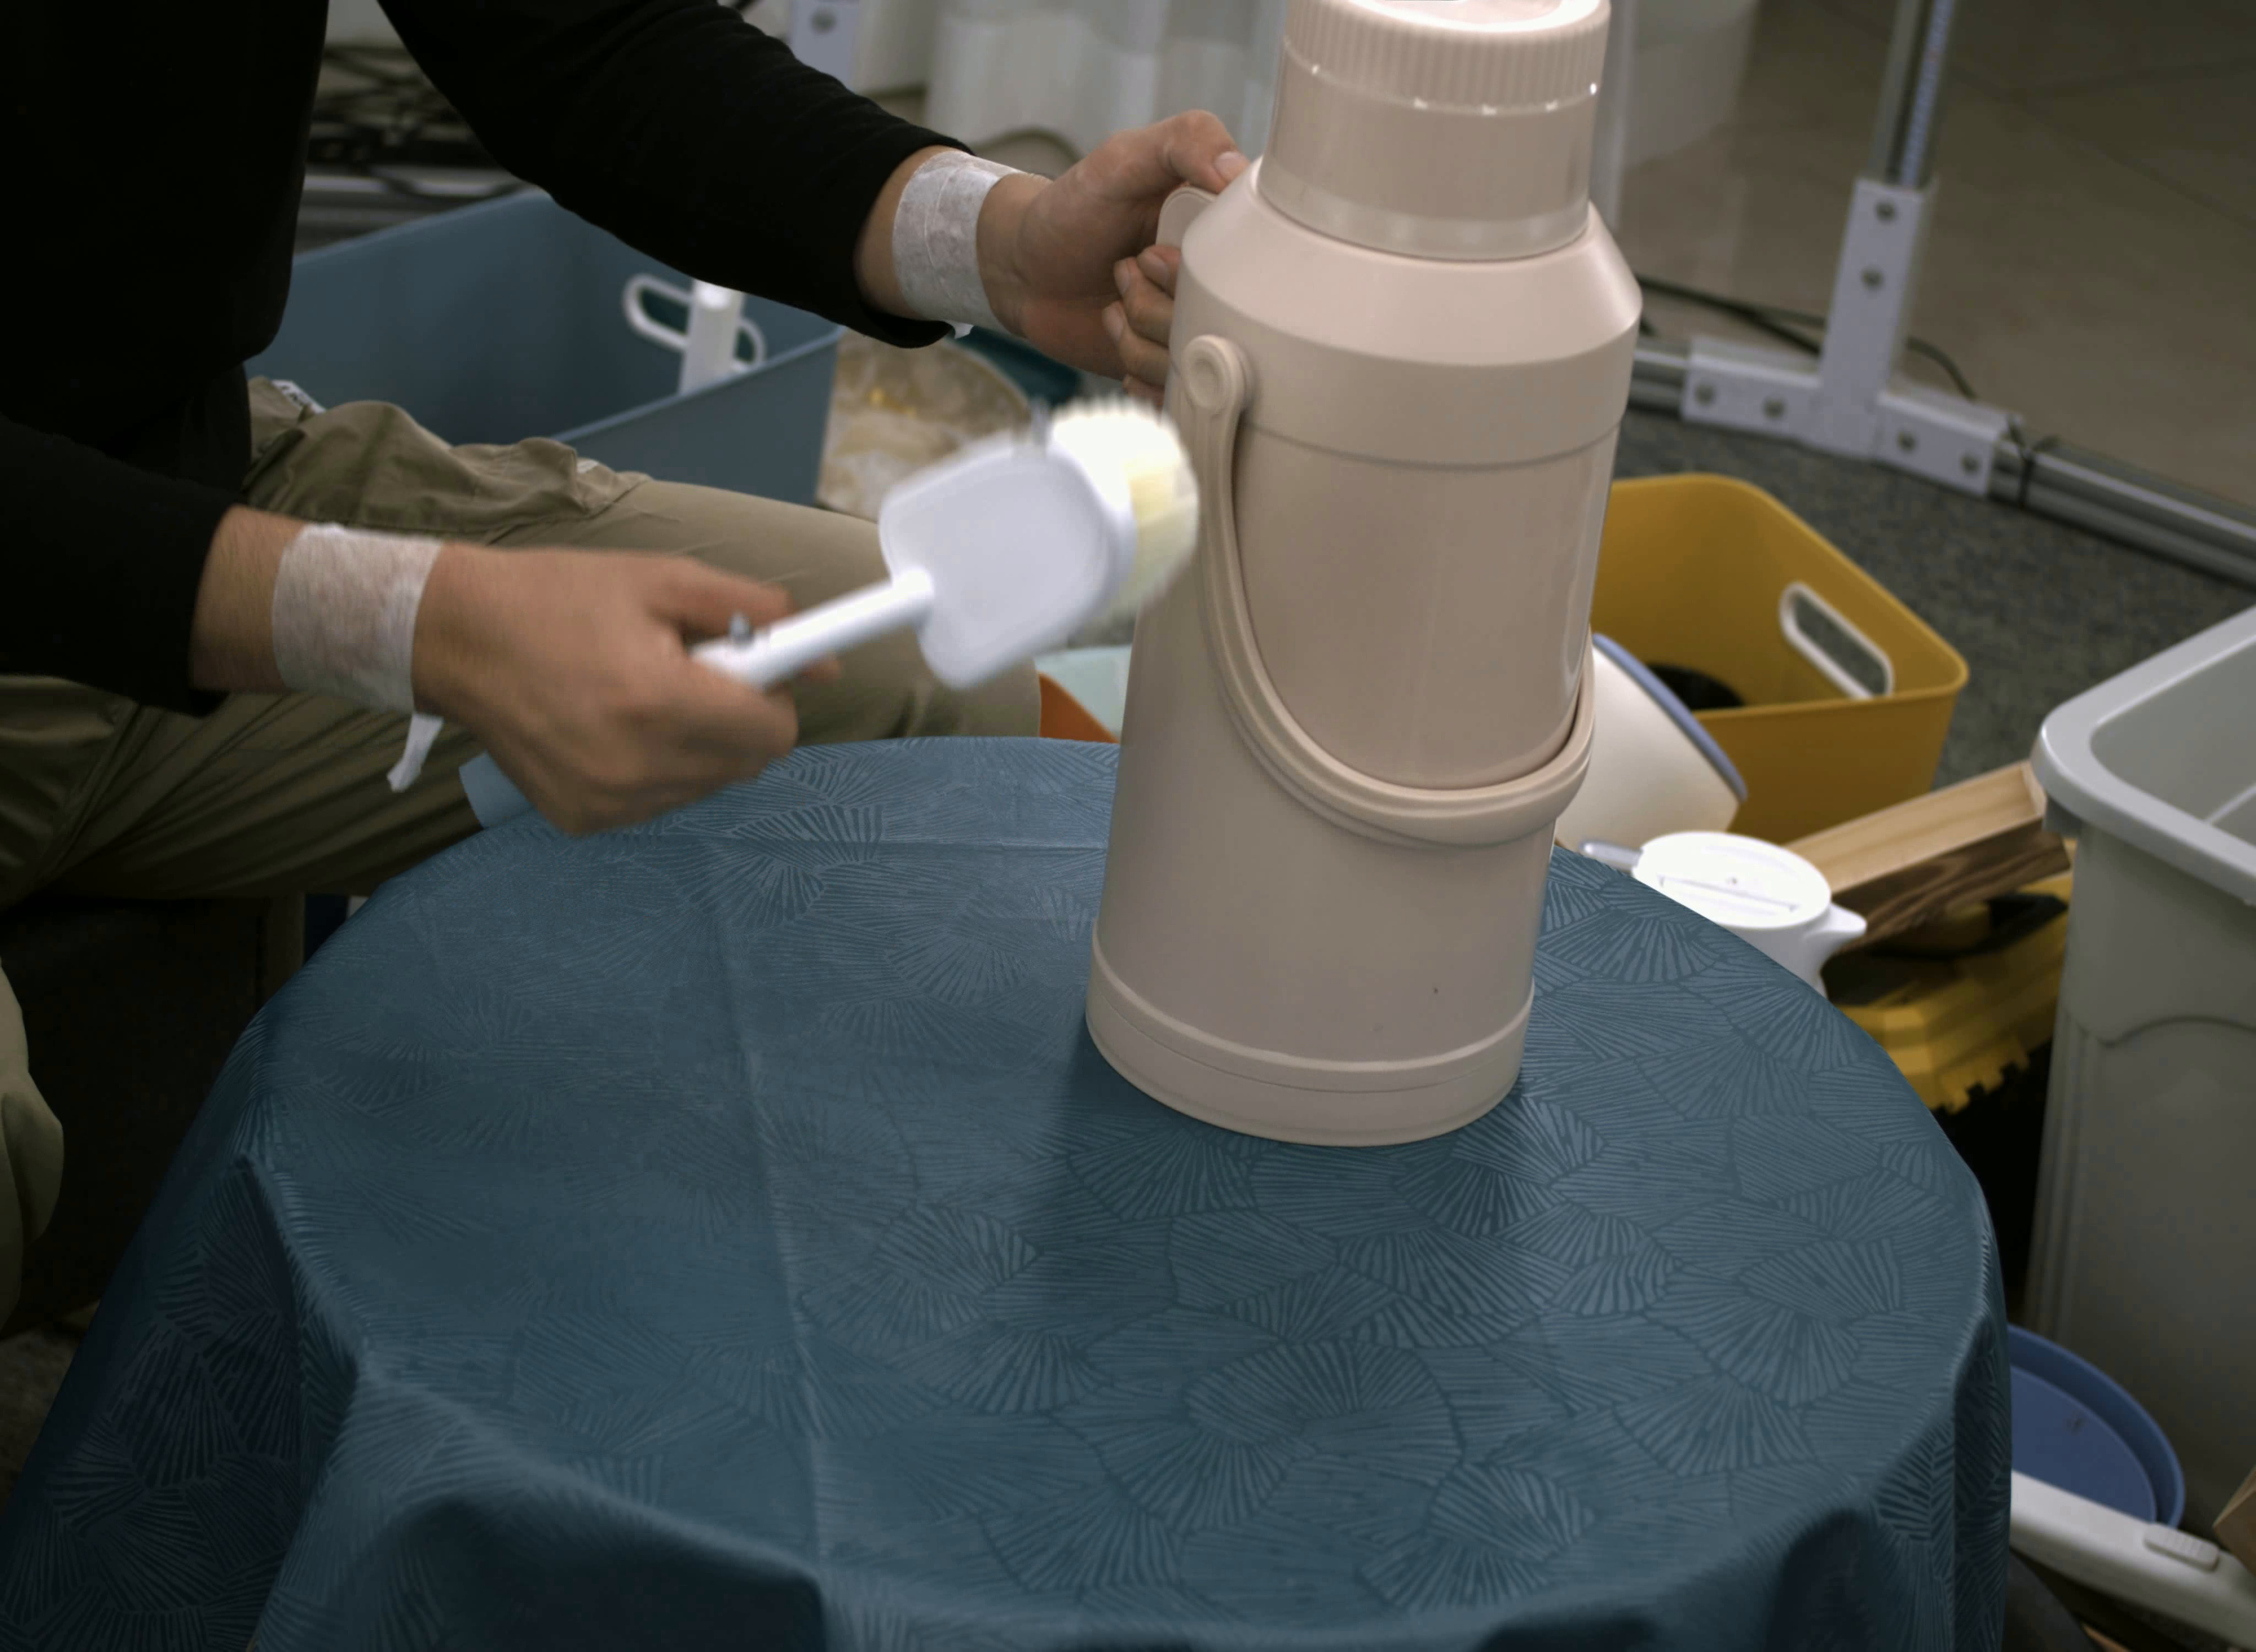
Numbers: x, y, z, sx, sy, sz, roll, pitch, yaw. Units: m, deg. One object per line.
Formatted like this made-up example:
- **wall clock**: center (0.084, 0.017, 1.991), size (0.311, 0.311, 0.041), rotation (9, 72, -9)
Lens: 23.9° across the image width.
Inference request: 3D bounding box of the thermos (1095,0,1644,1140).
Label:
- **thermos**: center (0.078, -0.107, 1.836), size (0.174, 0.405, 0.209), rotation (-17, 35, -36)

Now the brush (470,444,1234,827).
- **brush**: center (-0.088, -0.060, 1.757), size (0.084, 0.326, 0.083), rotation (34, 51, -36)
